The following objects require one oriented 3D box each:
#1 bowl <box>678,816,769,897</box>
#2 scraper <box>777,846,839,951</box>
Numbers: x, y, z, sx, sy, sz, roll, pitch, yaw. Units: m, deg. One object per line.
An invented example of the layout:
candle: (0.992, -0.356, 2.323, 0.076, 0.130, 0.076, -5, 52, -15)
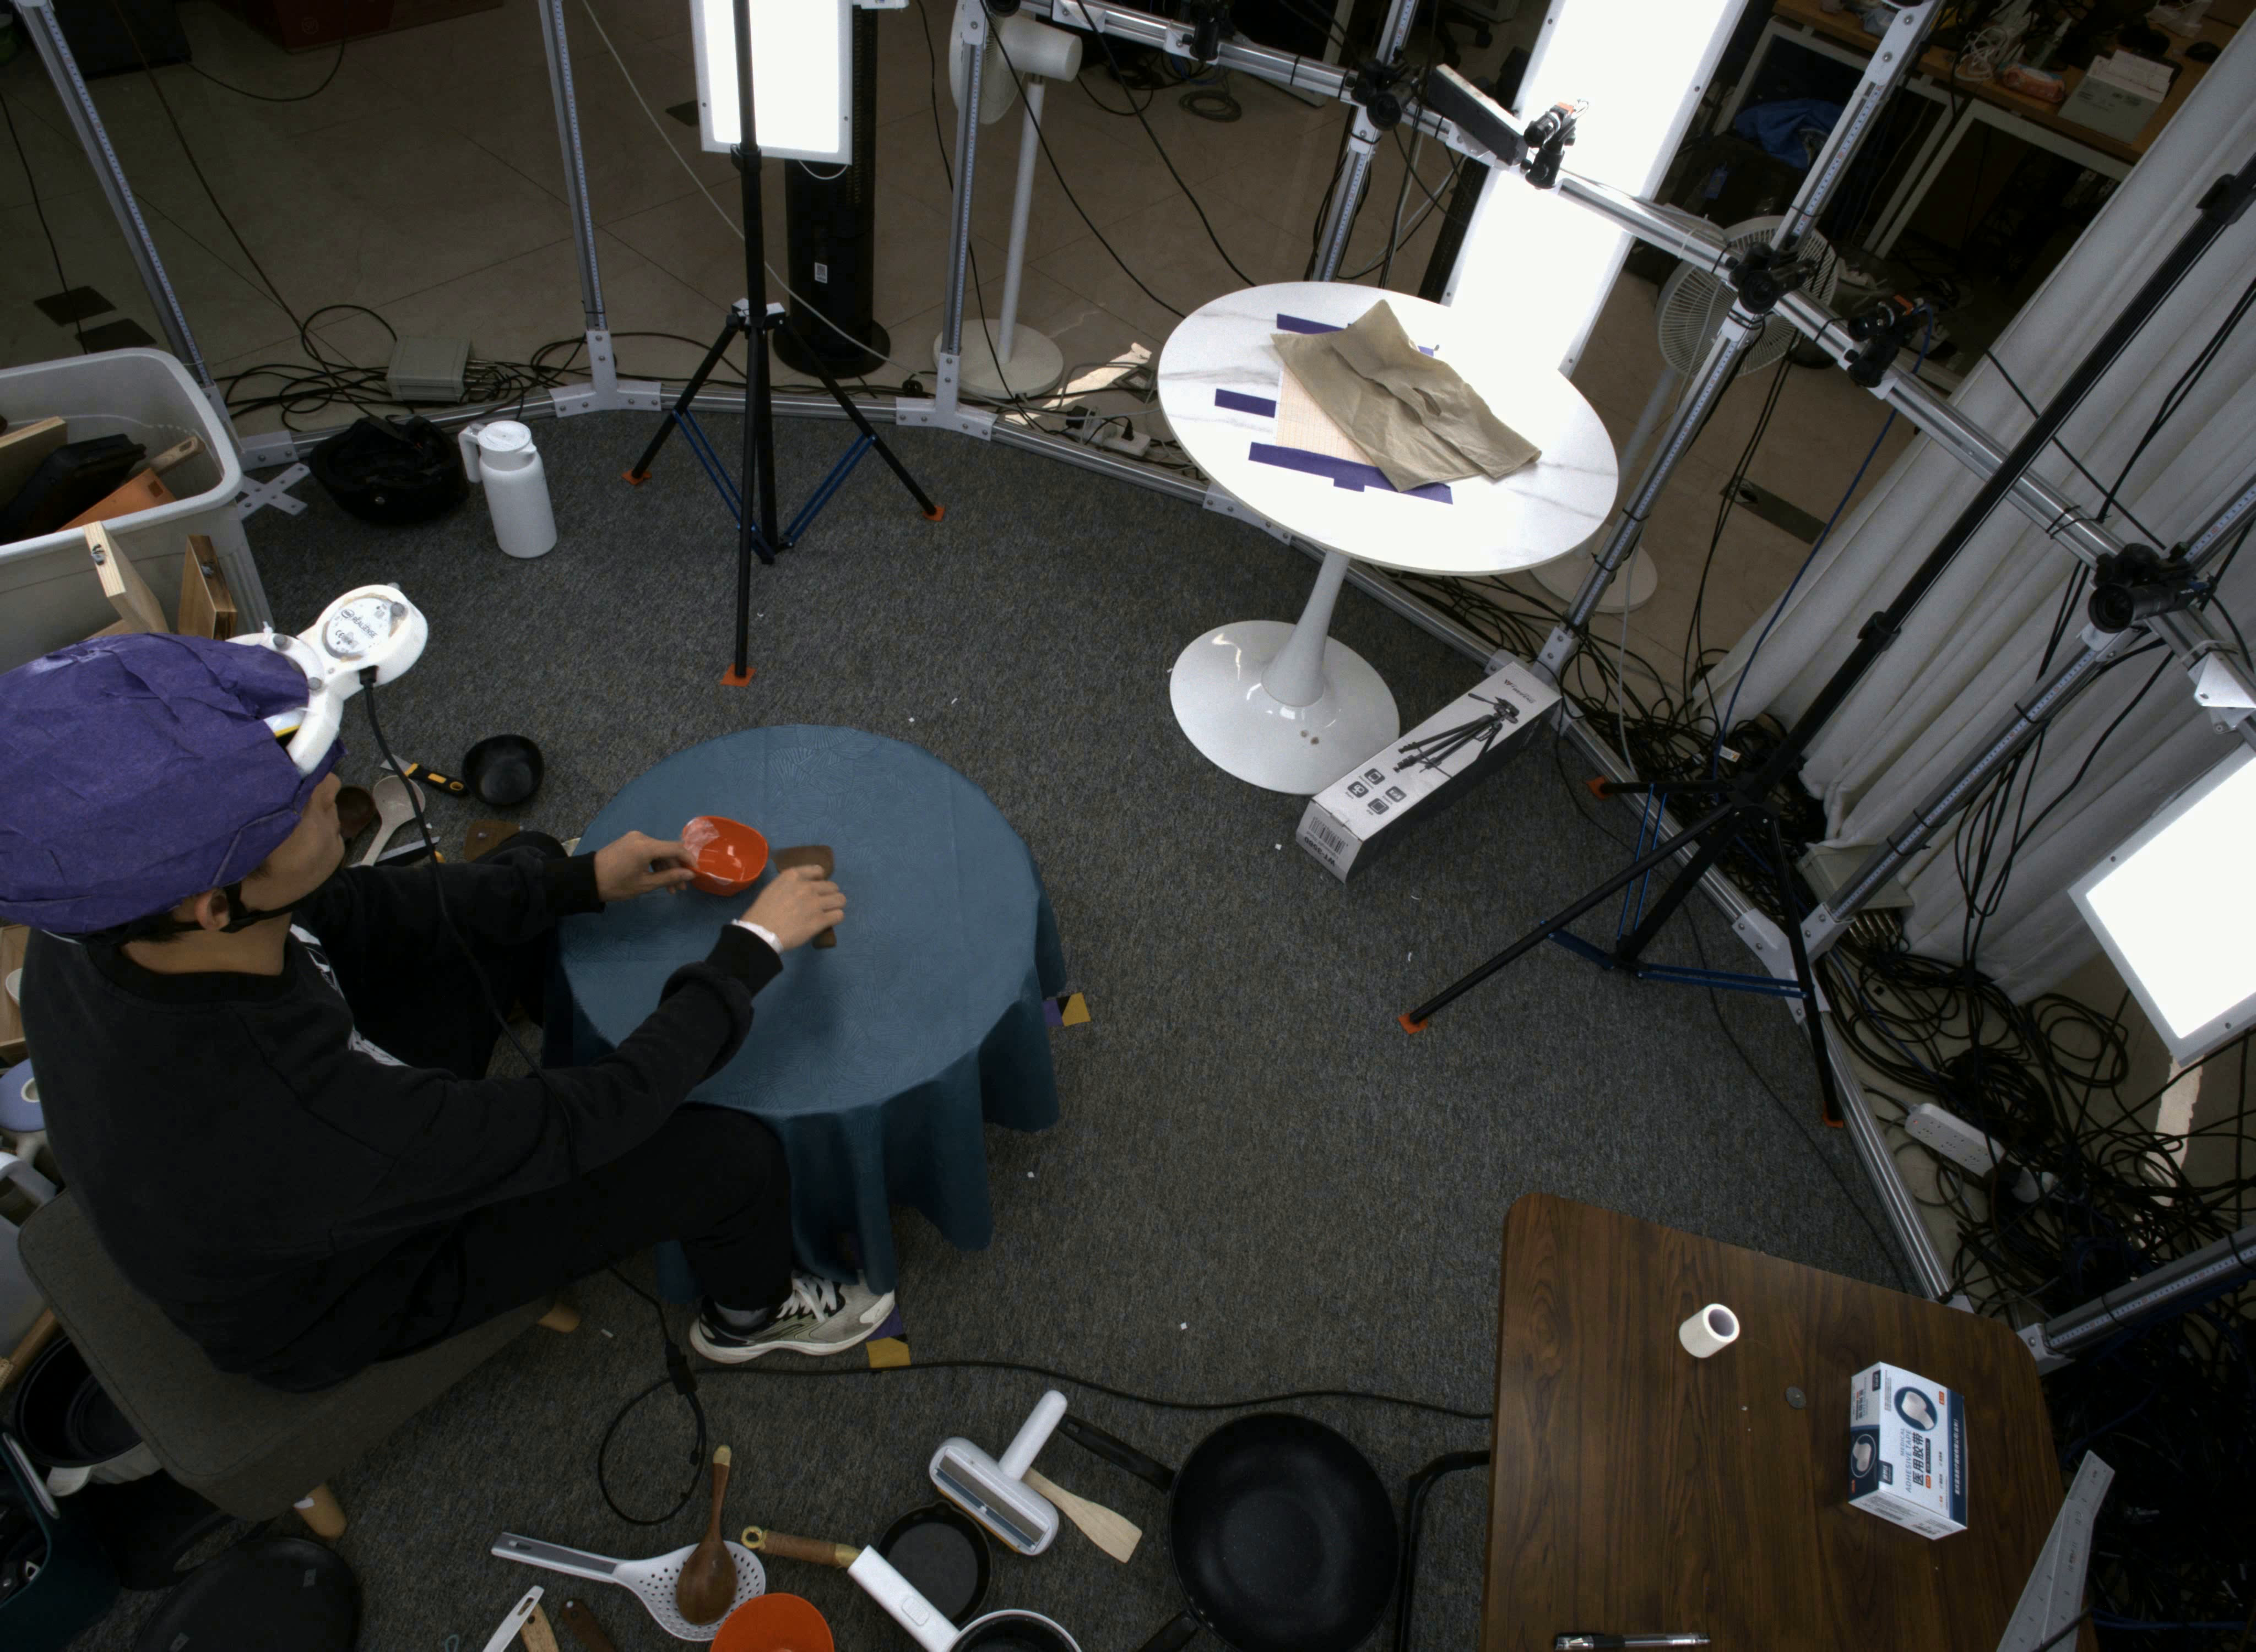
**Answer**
bowl: (-0.514, 0.044, 1.628, 0.120, 0.052, 0.116, 21, 36, -15)
scraper: (-0.377, 0.085, 1.565, 0.076, 0.011, 0.204, -6, 34, -18)
